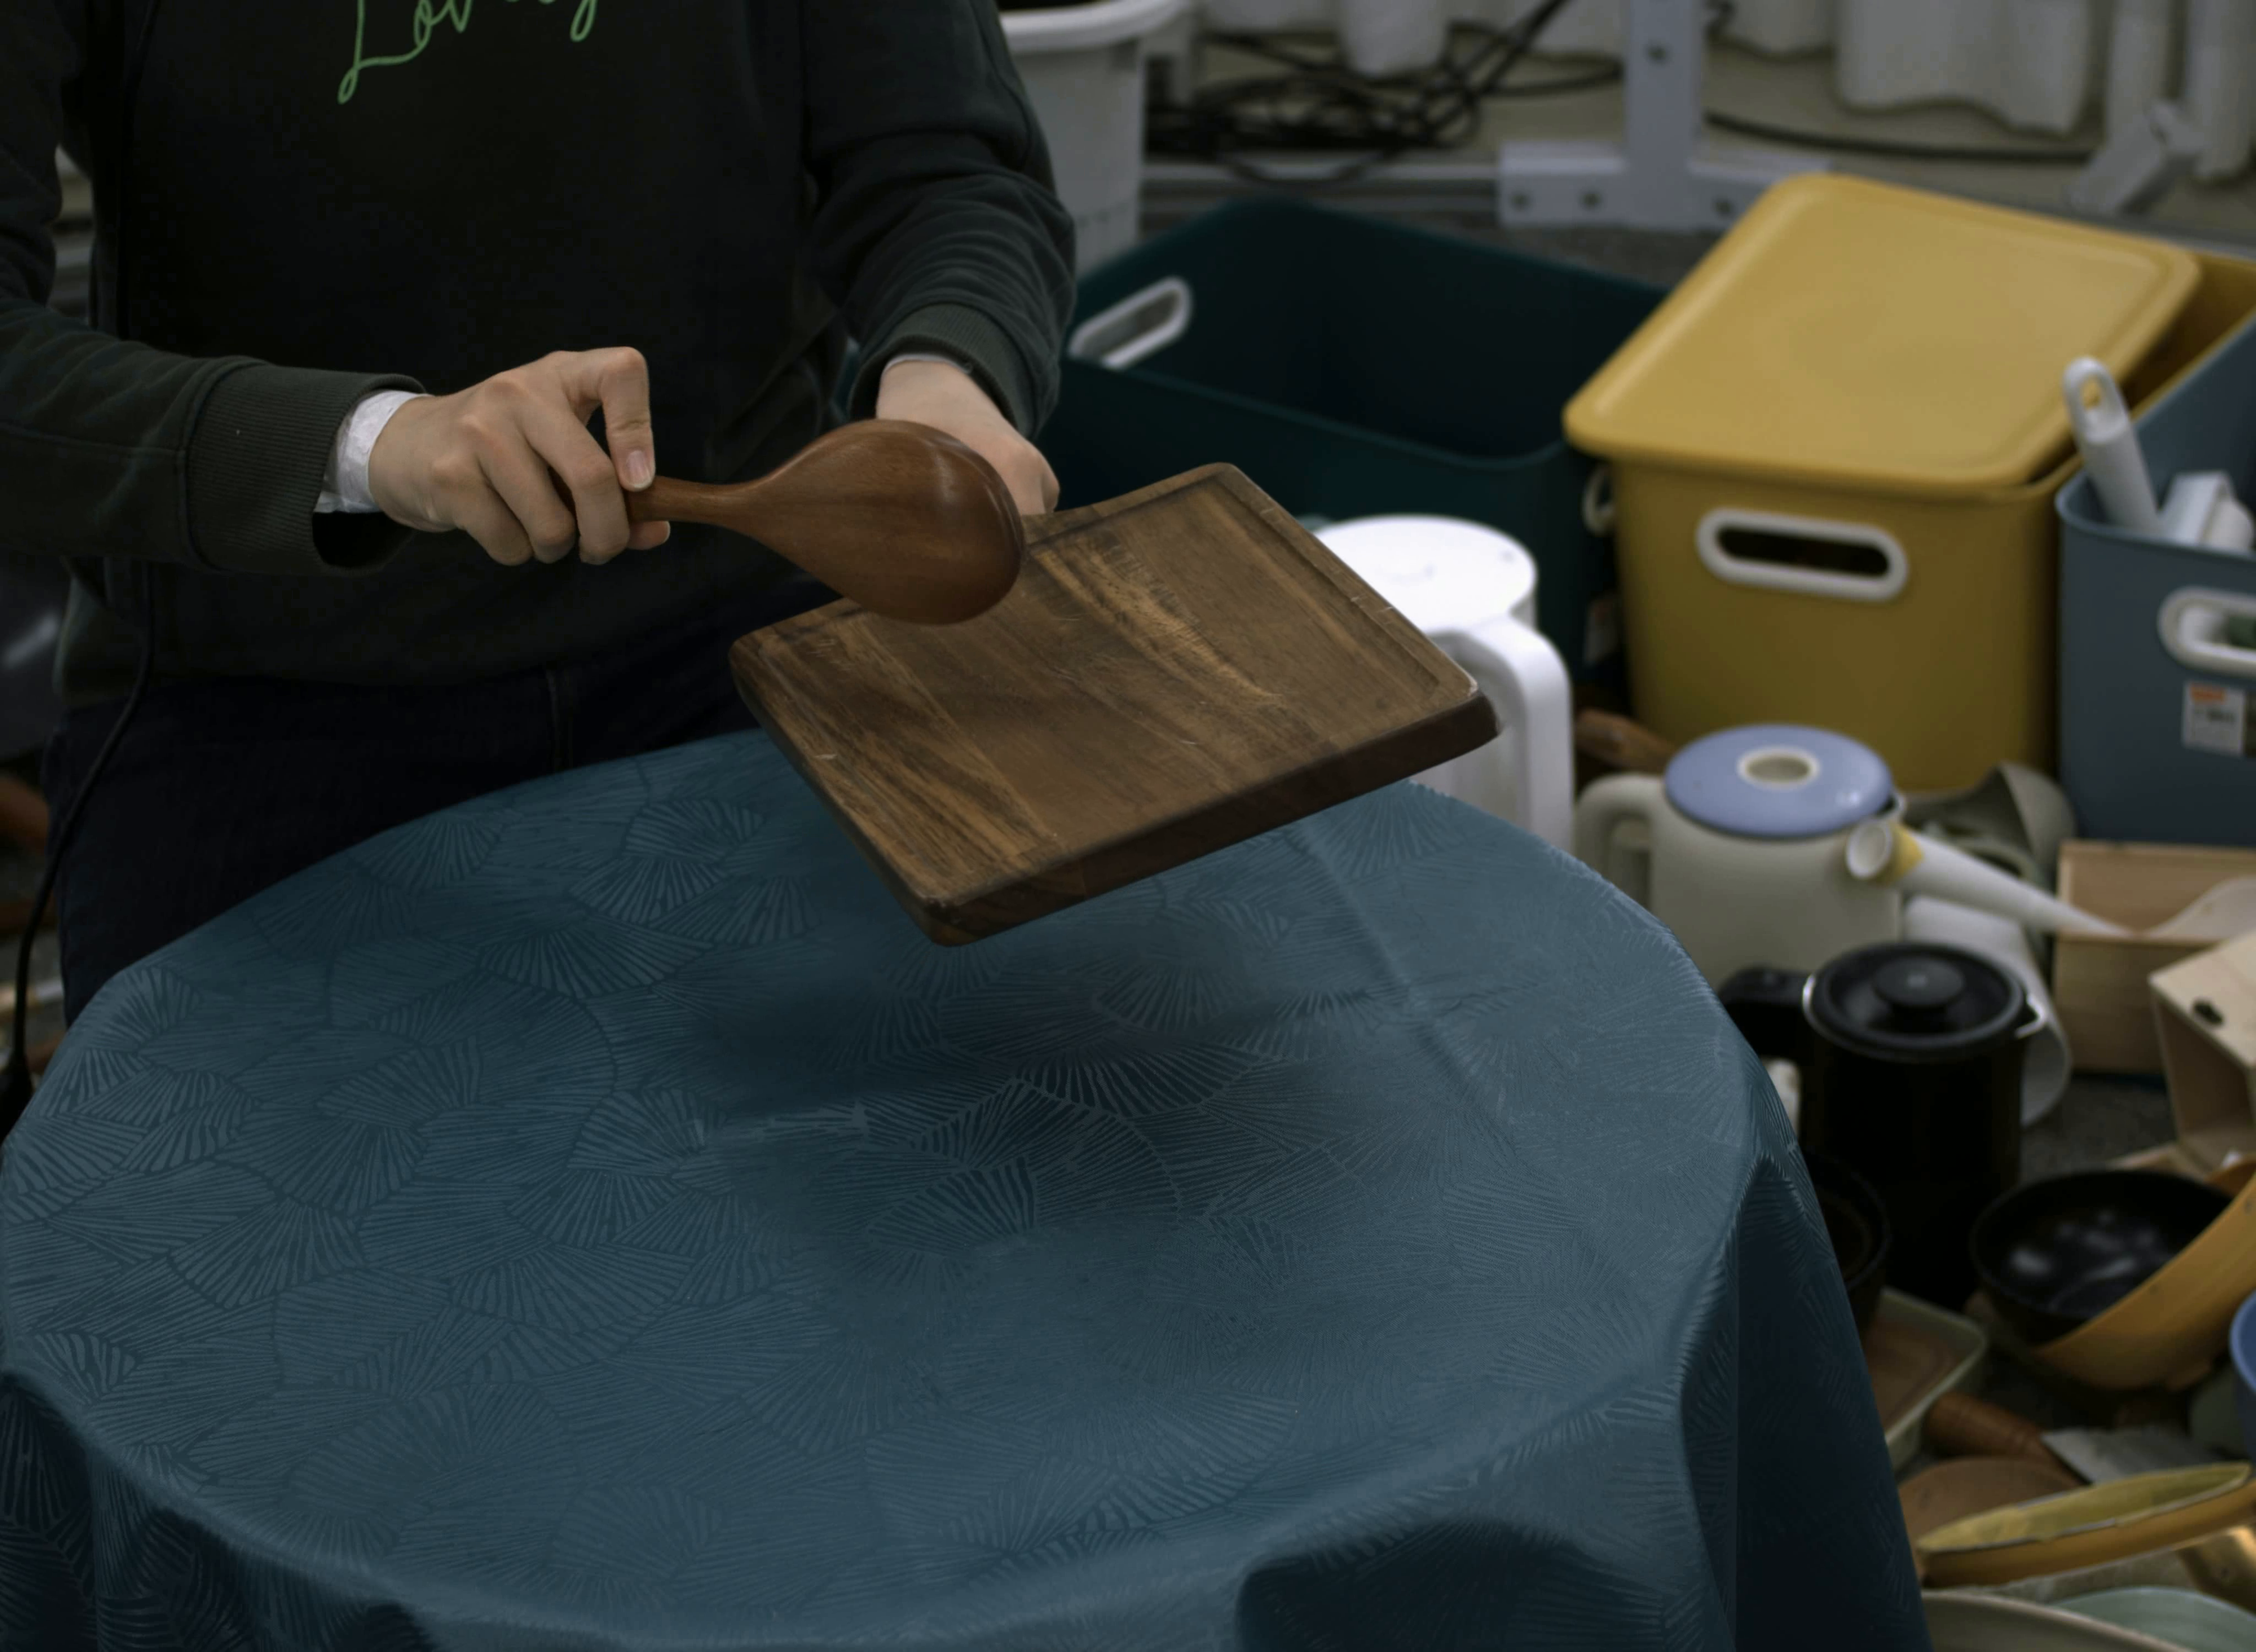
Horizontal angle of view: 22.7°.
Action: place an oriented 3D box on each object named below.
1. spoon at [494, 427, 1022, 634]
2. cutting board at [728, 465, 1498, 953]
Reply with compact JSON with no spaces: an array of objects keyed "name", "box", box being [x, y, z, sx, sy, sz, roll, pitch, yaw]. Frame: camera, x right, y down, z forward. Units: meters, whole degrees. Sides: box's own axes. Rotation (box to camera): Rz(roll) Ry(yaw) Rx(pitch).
[{"name":"spoon","box":[-0.128,-0.106,1.904,0.214,0.075,0.017,10,31,32]},{"name":"cutting board","box":[-0.026,-0.062,1.923,0.201,0.023,0.354,-21,26,-11]}]
